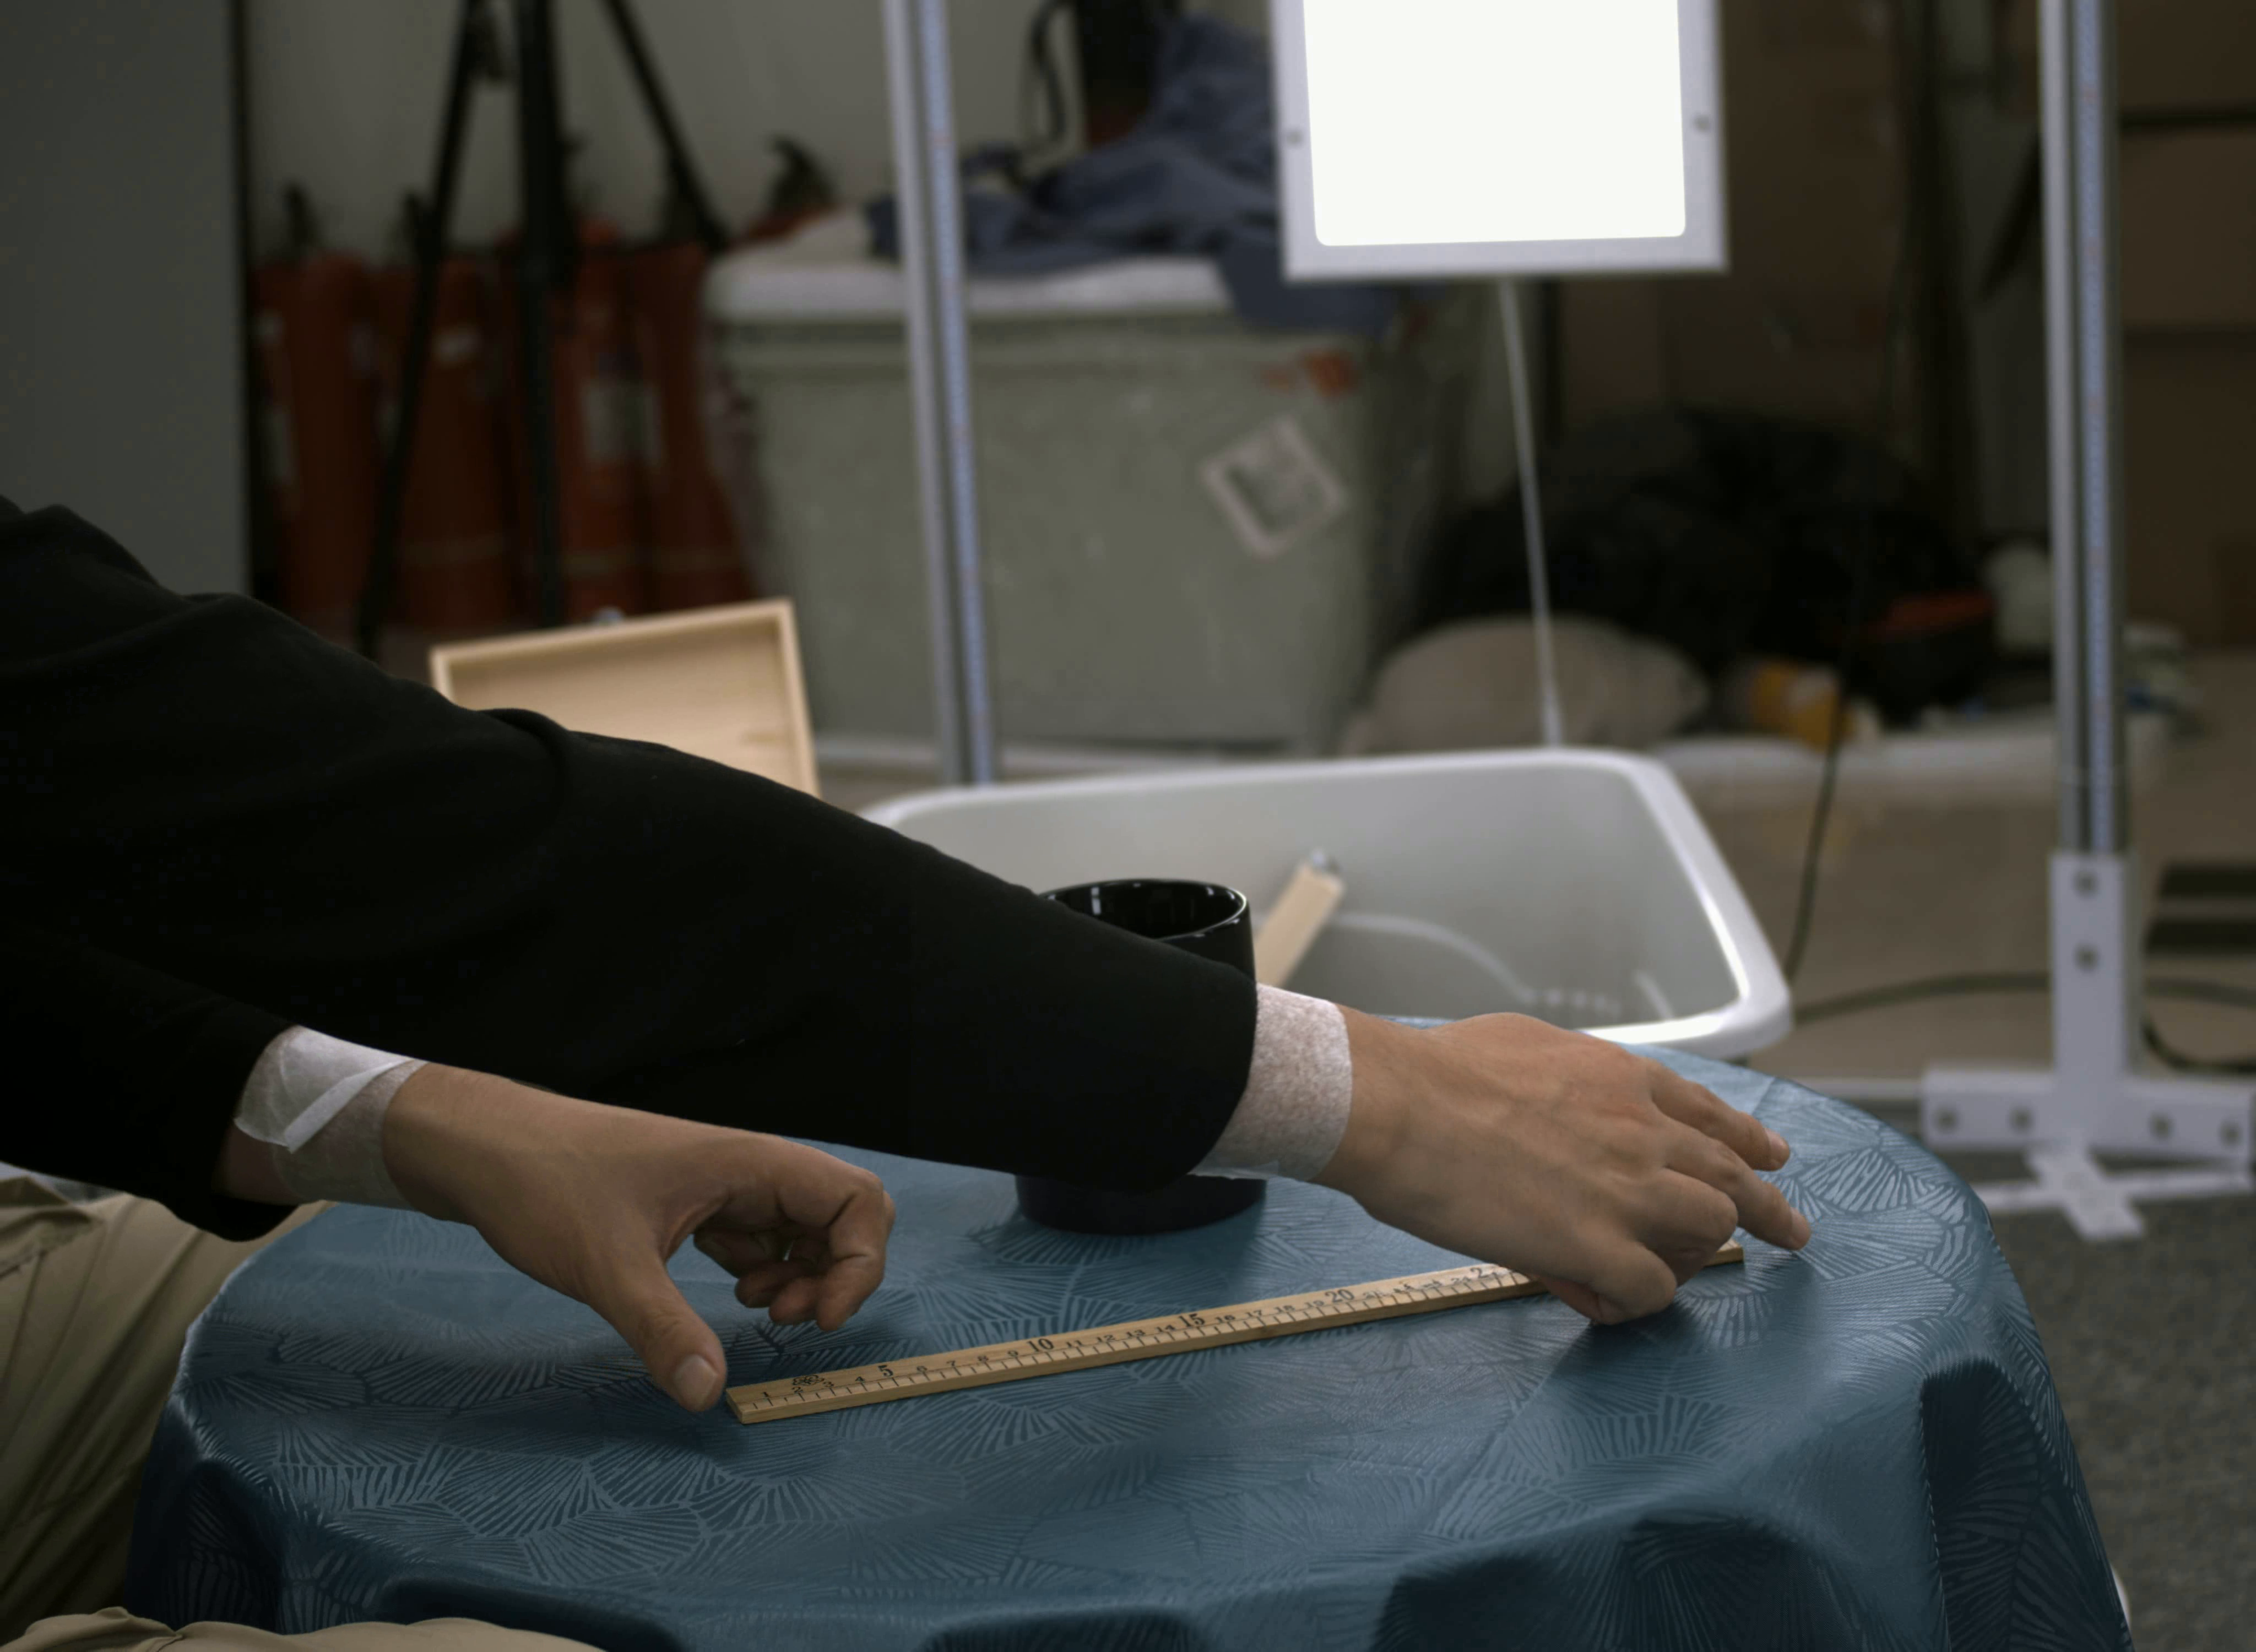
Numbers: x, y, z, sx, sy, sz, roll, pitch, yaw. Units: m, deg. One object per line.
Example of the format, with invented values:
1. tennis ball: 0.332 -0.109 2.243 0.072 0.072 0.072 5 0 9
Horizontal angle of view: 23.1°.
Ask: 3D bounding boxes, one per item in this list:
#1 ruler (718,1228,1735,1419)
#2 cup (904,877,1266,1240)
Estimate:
1. ruler: 0.034 0.156 1.747 0.328 0.022 0.027 -7 11 -10
2. cup: -0.016 0.081 1.876 0.122 0.105 0.089 -8 16 -10
